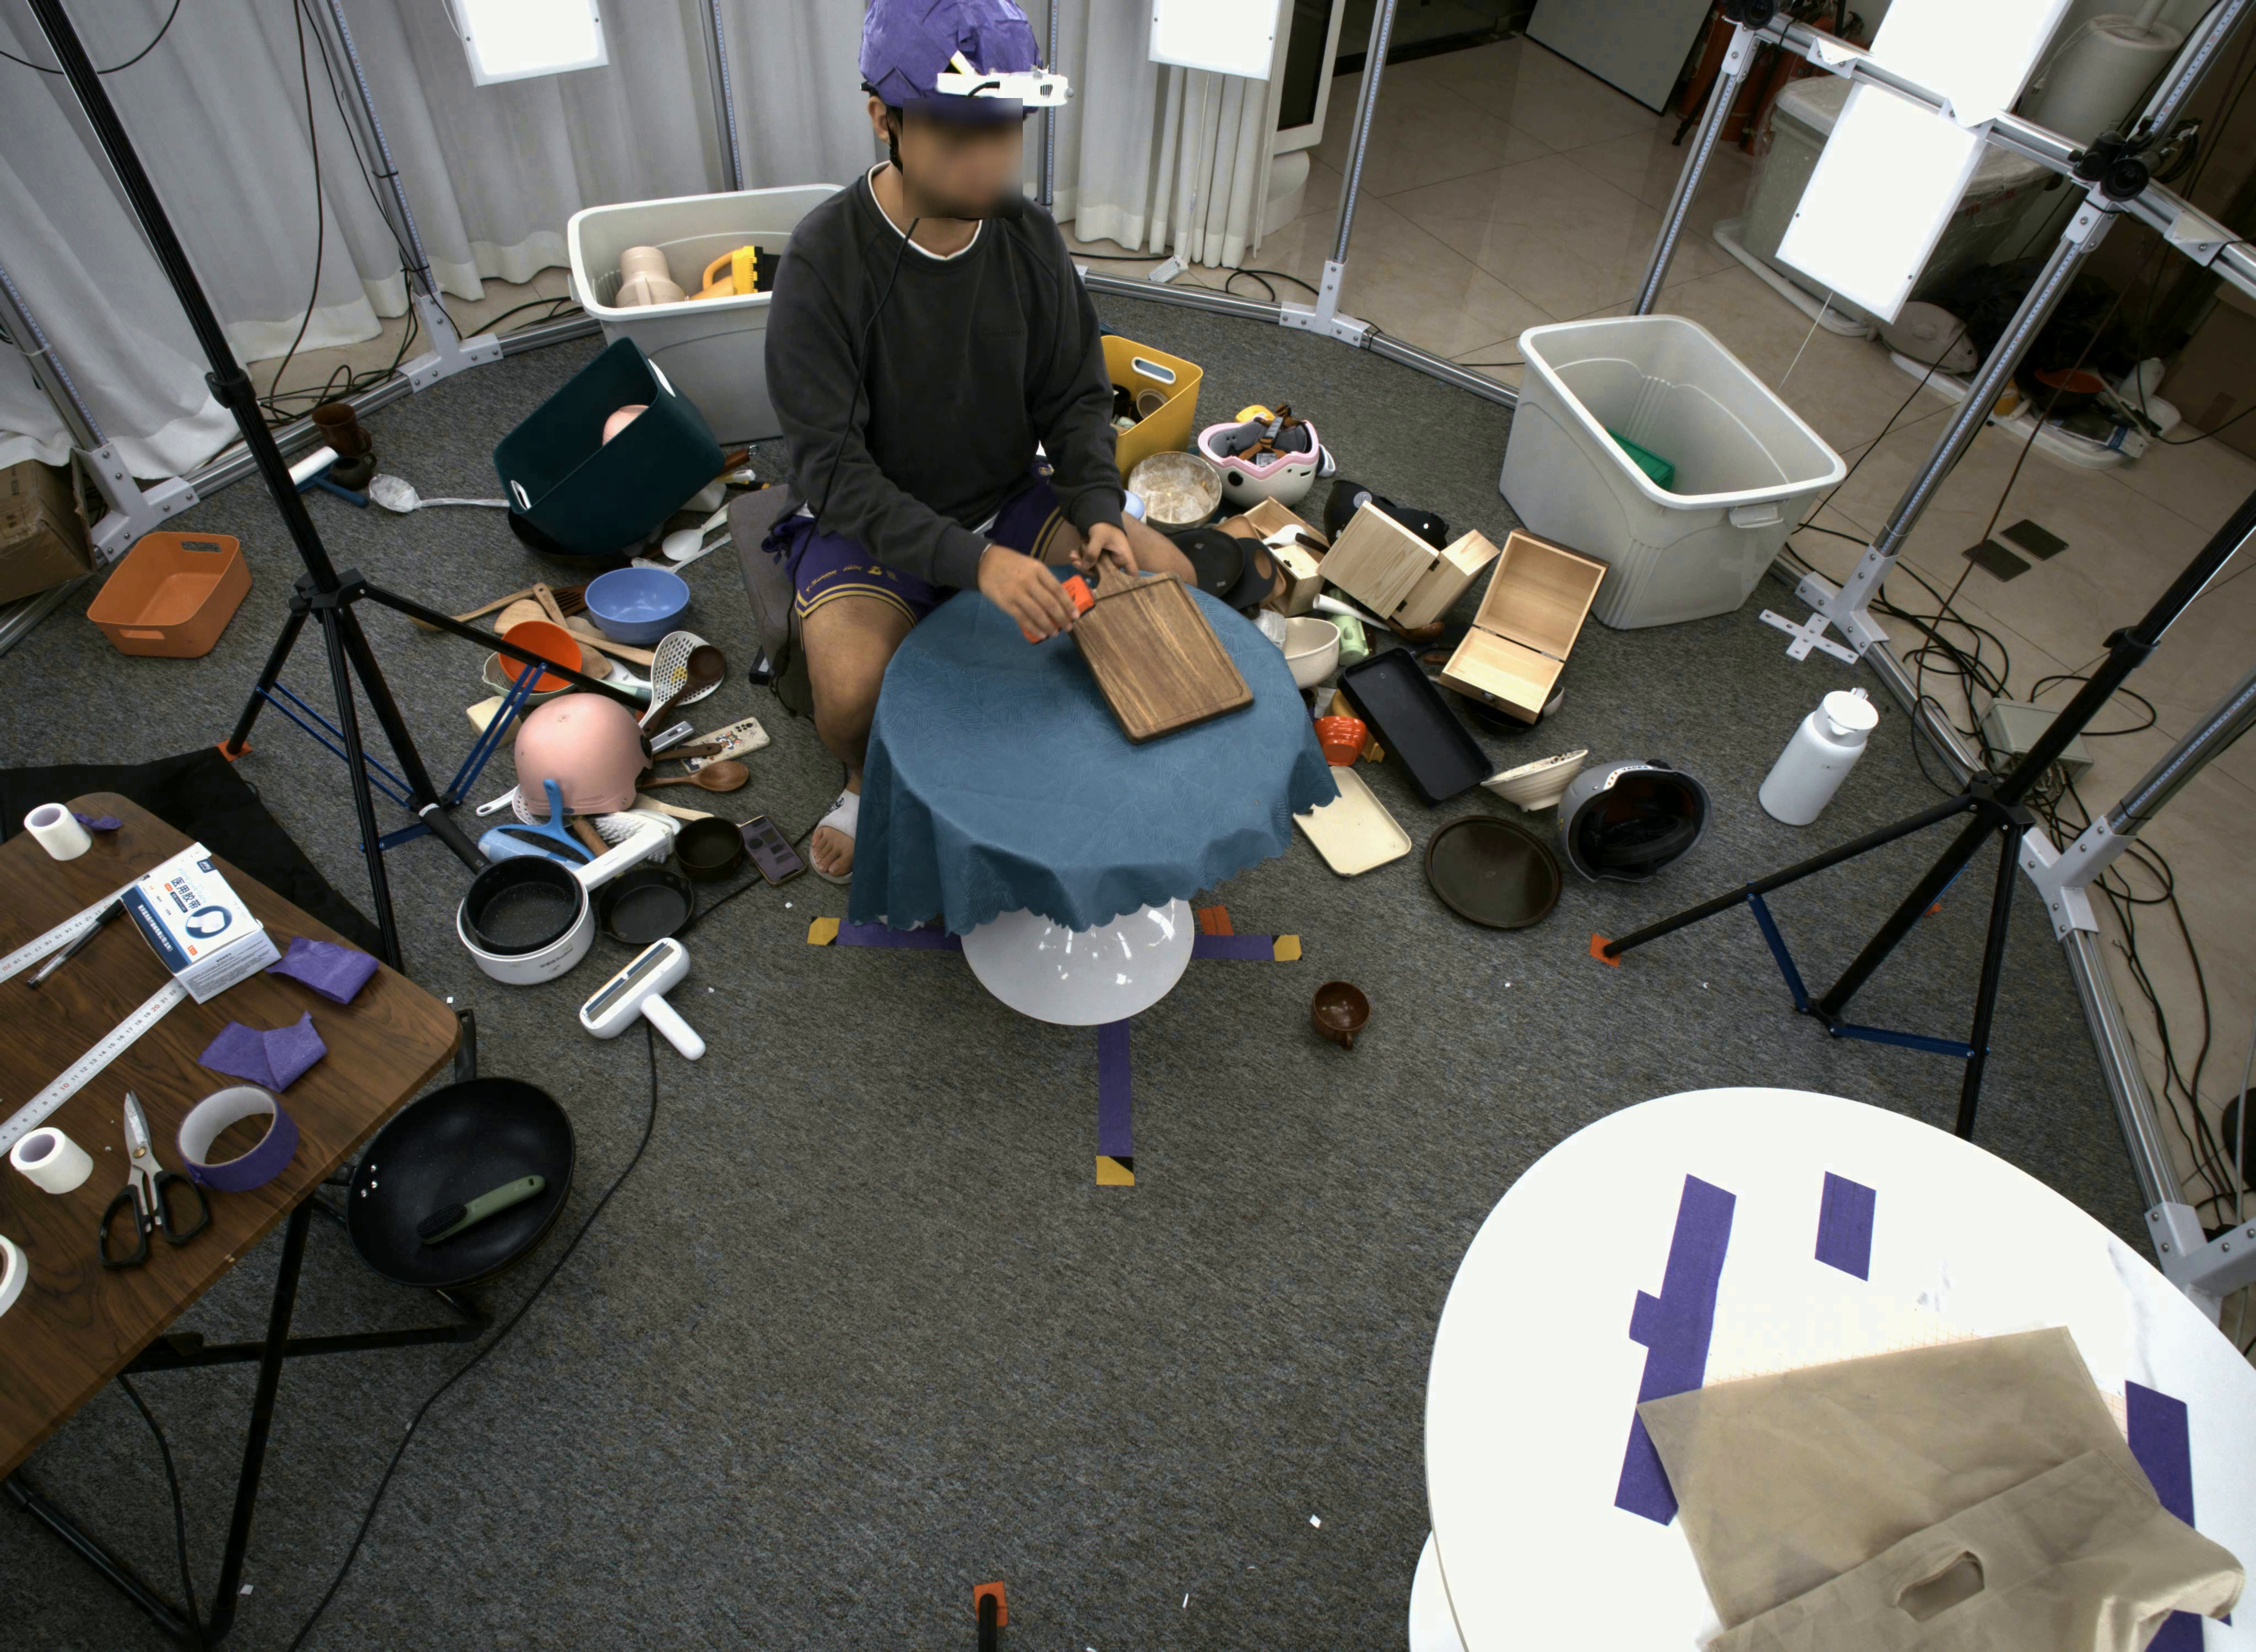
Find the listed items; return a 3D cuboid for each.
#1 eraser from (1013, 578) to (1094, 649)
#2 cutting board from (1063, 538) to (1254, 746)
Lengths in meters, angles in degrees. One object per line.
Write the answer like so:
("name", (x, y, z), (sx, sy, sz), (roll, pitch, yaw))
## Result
("eraser", (-0.104, -0.295, 1.785), (0.108, 0.022, 0.060), (-33, 49, 3))
("cutting board", (0.016, -0.285, 1.860), (0.201, 0.023, 0.359), (-20, 64, -20))
